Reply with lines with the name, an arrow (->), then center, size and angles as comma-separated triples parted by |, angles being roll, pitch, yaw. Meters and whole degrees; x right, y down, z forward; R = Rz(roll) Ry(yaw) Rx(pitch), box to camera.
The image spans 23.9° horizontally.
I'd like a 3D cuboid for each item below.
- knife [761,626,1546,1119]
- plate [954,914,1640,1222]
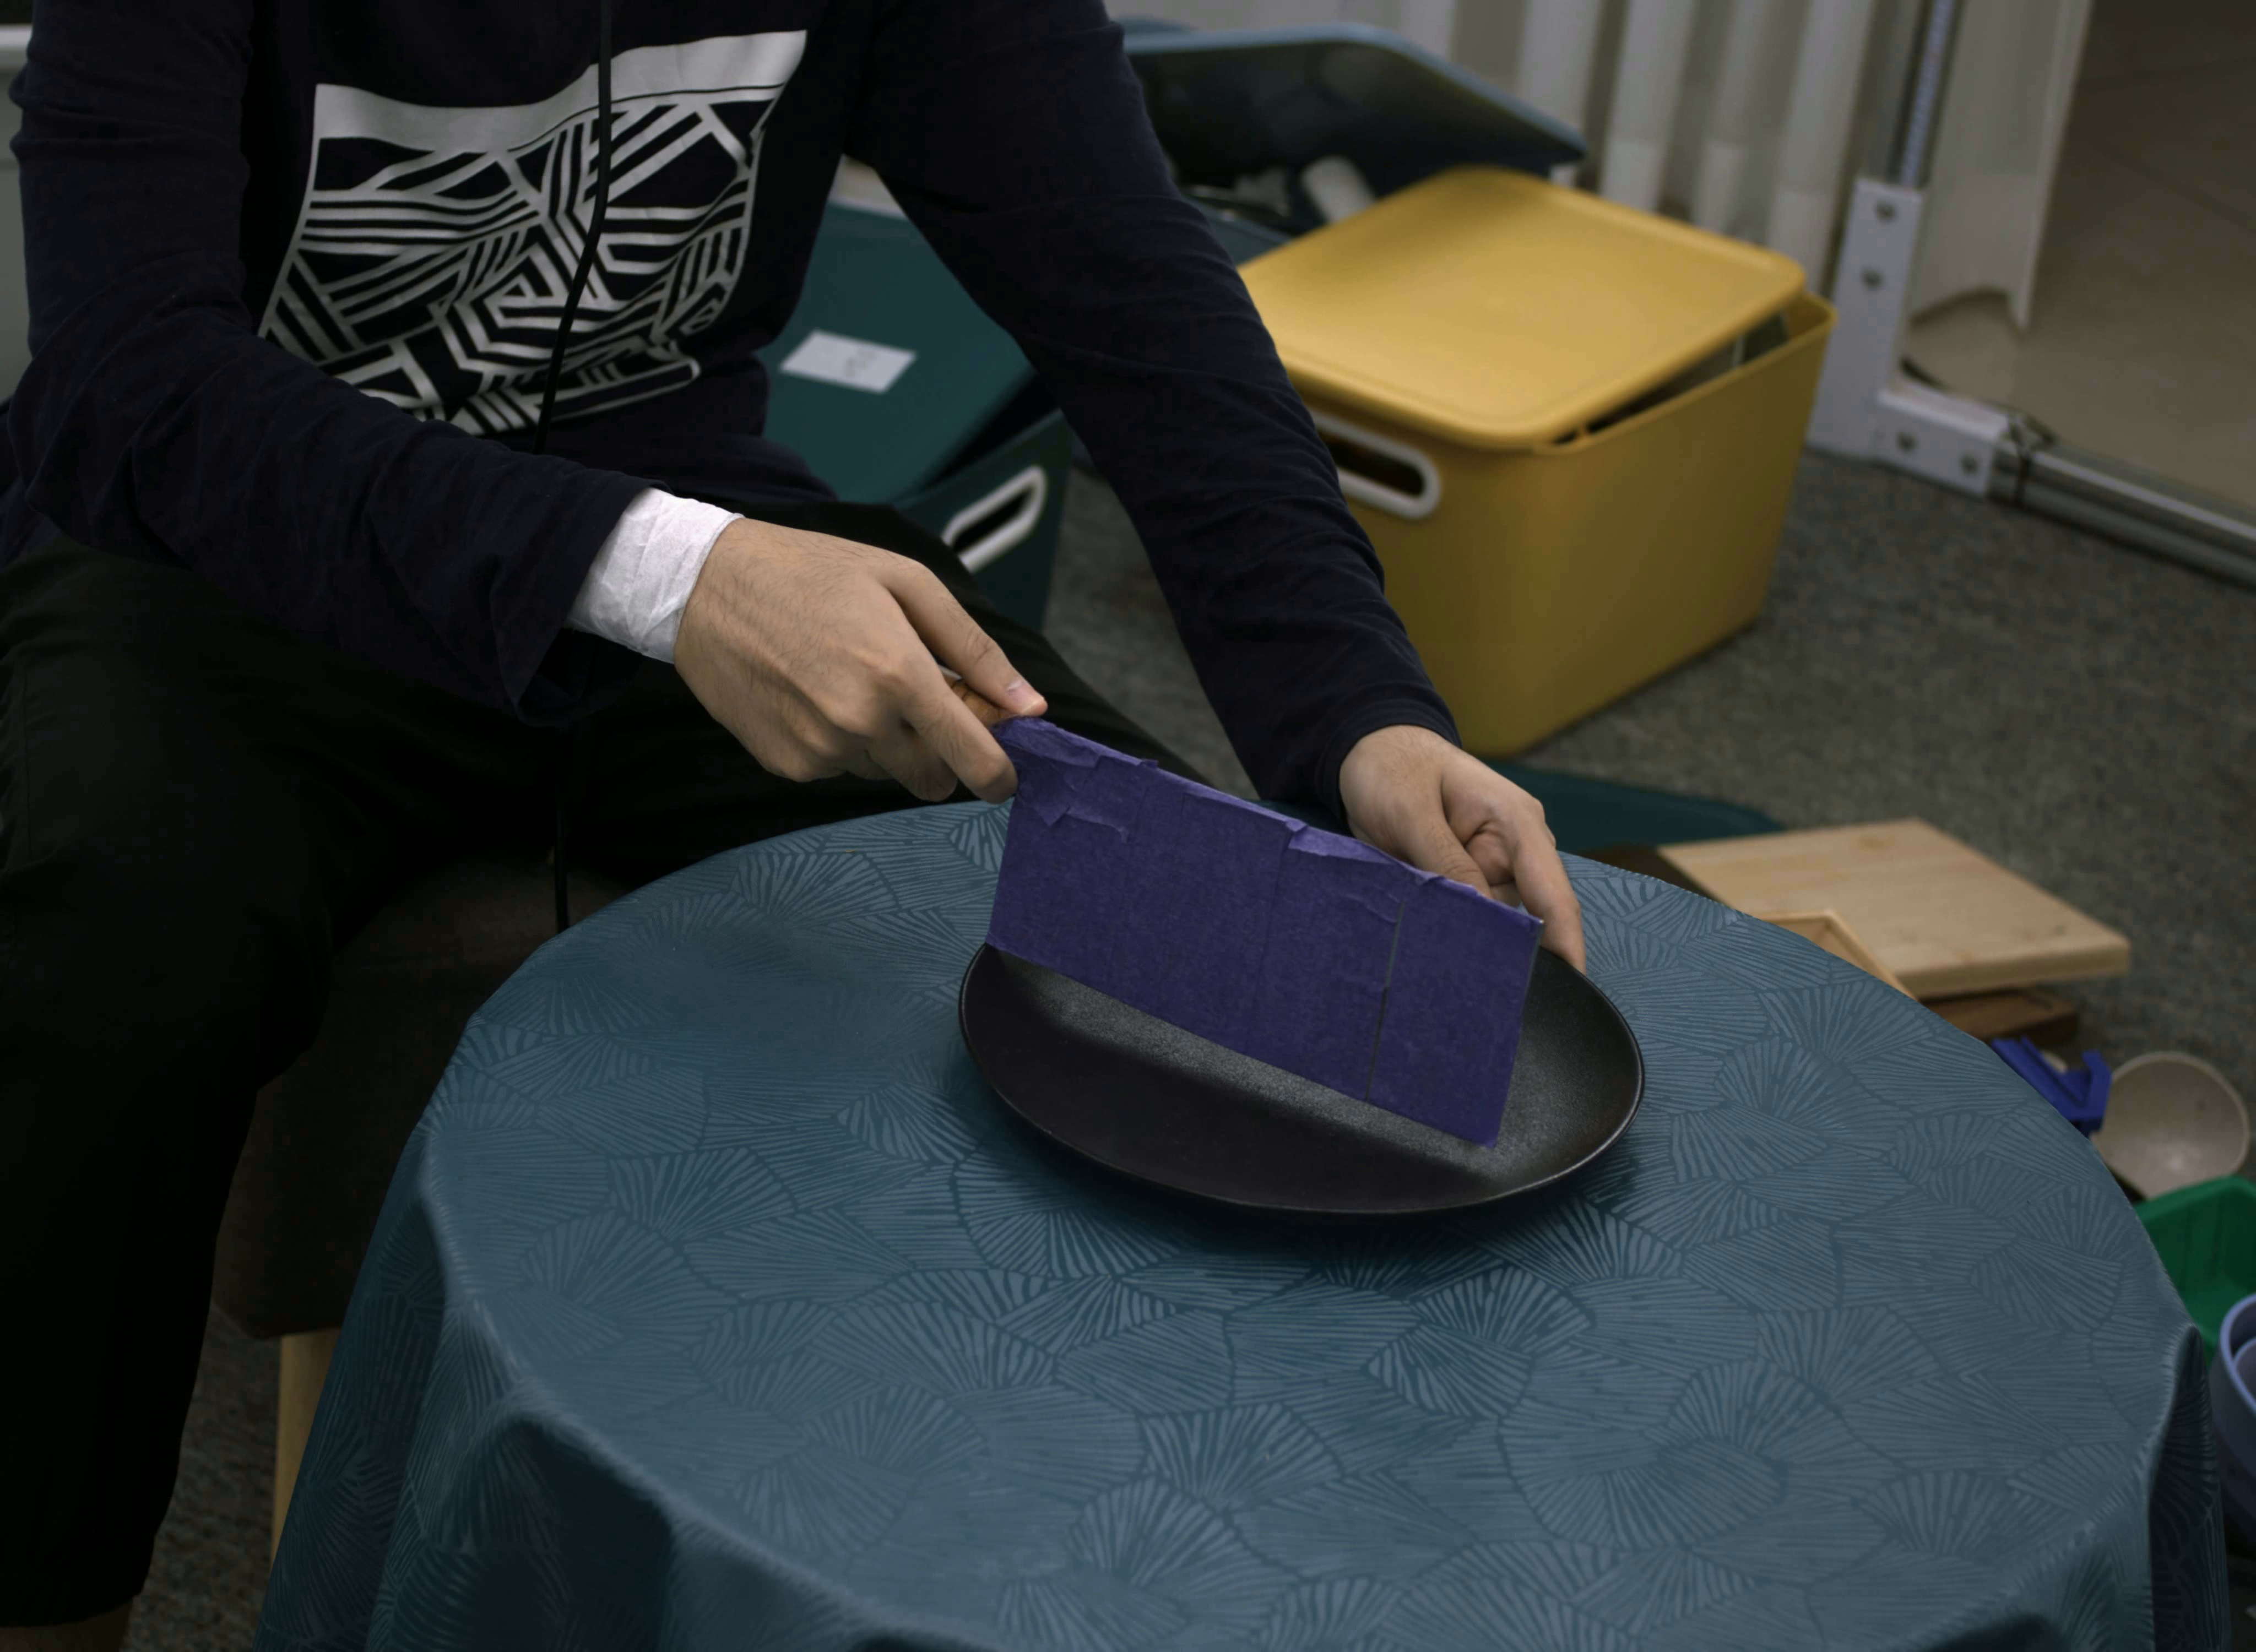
knife -> 0.000, 0.019, 1.868 | 0.317, 0.103, 0.032 | 22, 23, 27
plate -> 0.058, 0.080, 1.876 | 0.243, 0.023, 0.246 | 5, 27, -3
